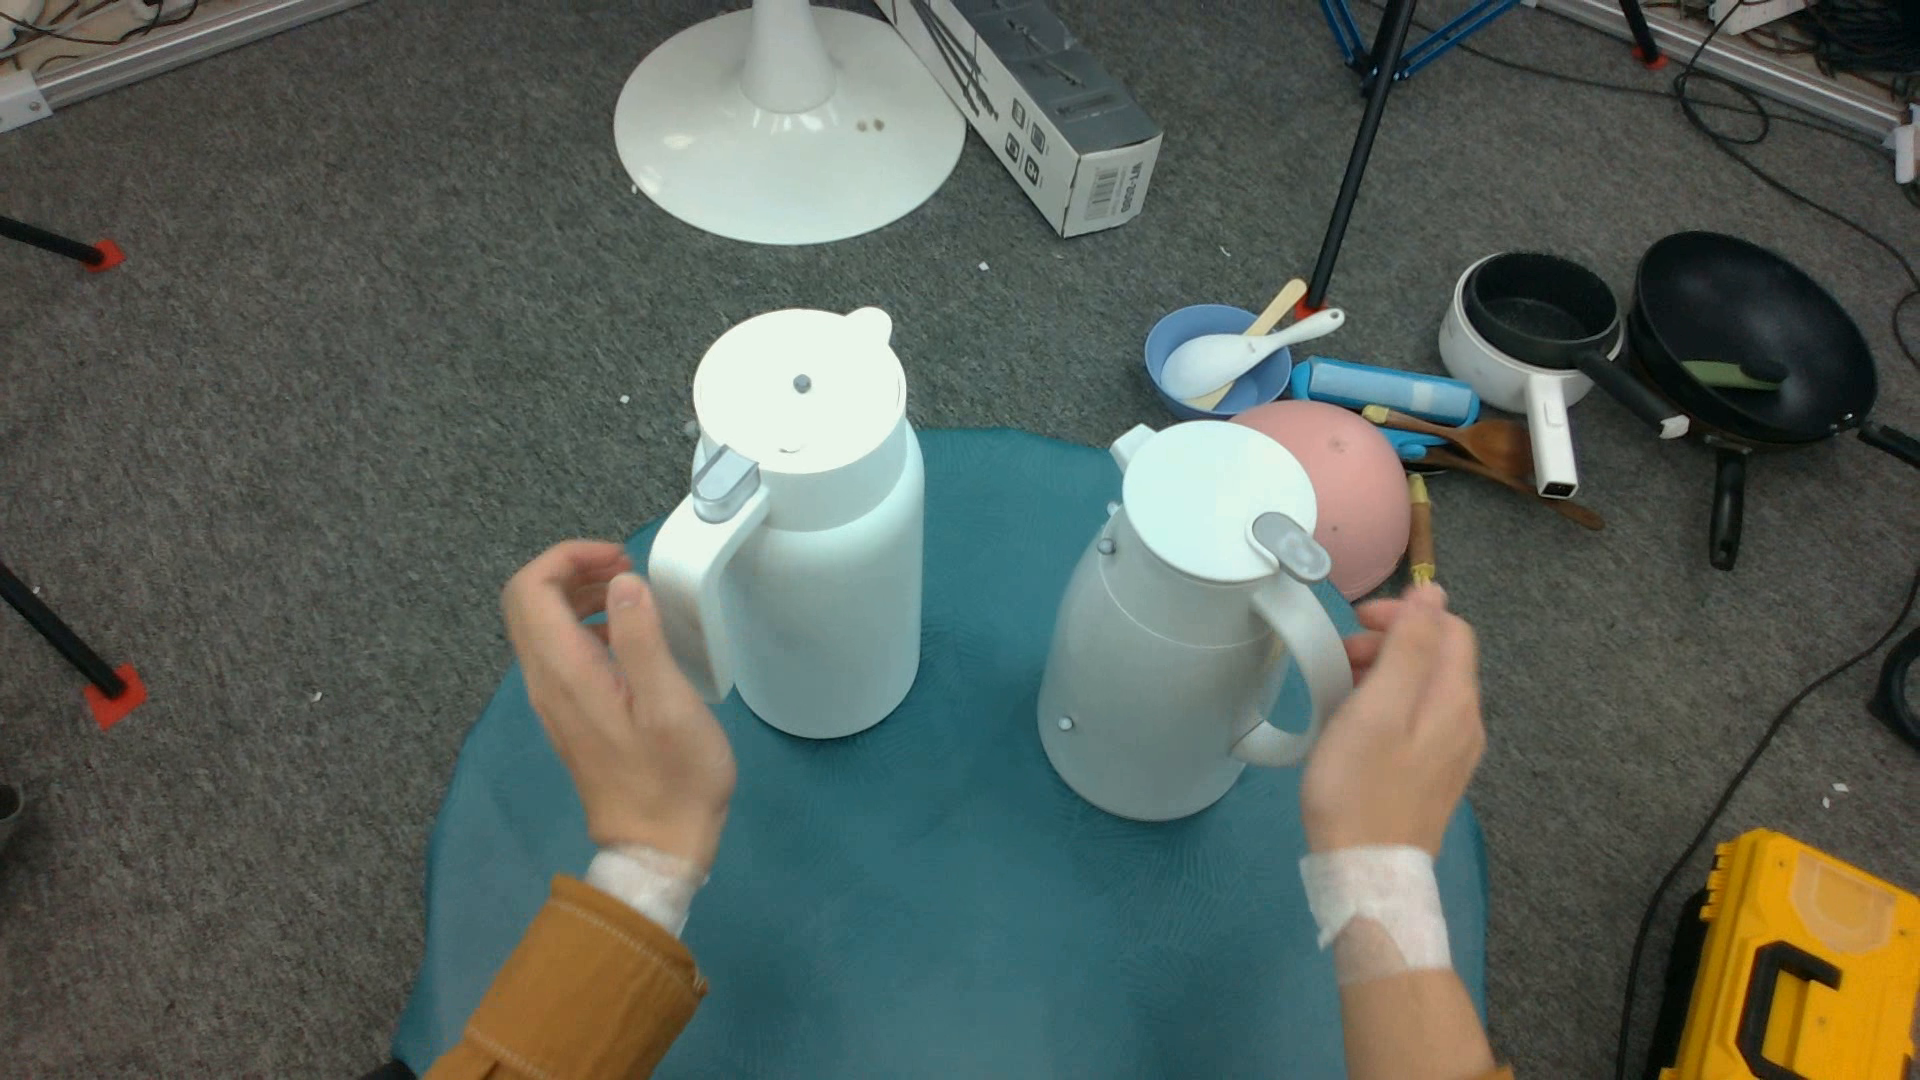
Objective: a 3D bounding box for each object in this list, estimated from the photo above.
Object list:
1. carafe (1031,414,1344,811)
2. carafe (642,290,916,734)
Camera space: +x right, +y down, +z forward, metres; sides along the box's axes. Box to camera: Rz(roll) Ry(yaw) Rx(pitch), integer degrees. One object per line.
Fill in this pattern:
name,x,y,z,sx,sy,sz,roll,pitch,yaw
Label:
carafe,0.126,0.051,0.735,0.133,0.247,0.168,-34,66,-22
carafe,-0.091,0.011,0.737,0.124,0.267,0.173,28,60,12
